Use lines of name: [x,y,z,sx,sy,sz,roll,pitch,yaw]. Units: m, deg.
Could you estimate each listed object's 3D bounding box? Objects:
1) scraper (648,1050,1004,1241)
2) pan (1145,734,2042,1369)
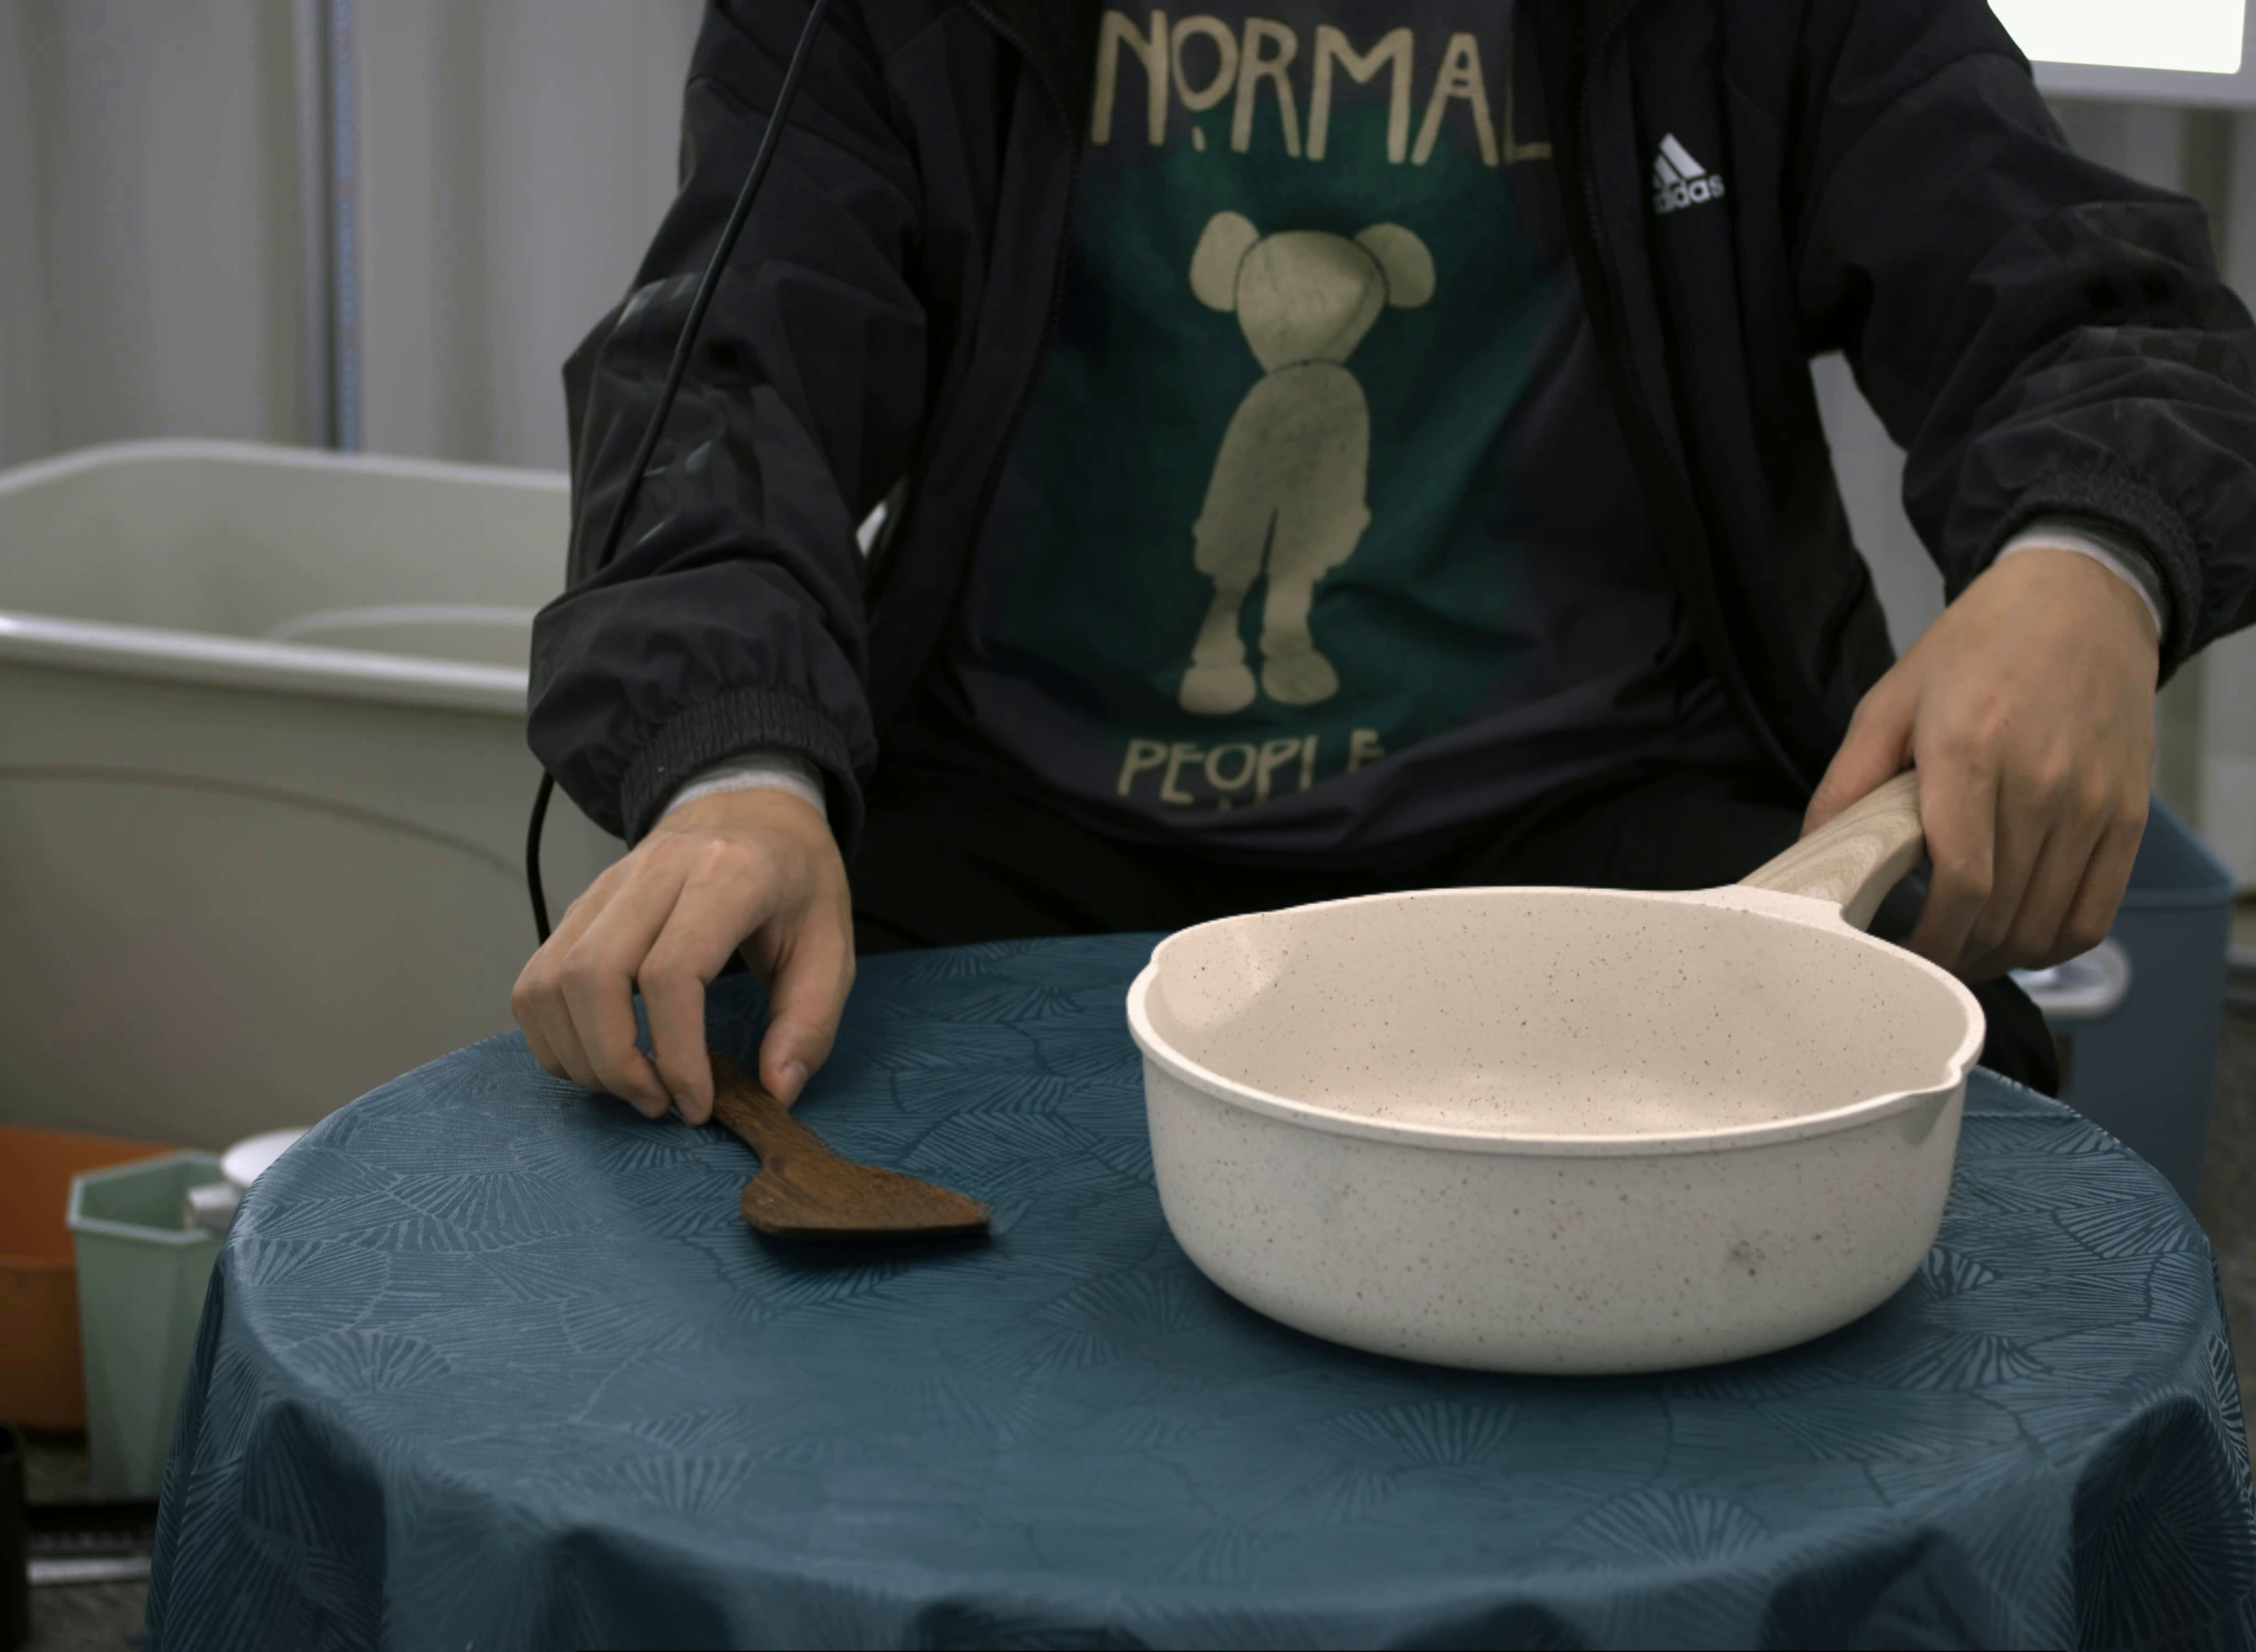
scraper: [-0.107,0.100,1.647,0.076,0.011,0.209,-1,13,-23]
pan: [0.181,0.064,1.622,0.260,0.103,0.436,9,17,33]
